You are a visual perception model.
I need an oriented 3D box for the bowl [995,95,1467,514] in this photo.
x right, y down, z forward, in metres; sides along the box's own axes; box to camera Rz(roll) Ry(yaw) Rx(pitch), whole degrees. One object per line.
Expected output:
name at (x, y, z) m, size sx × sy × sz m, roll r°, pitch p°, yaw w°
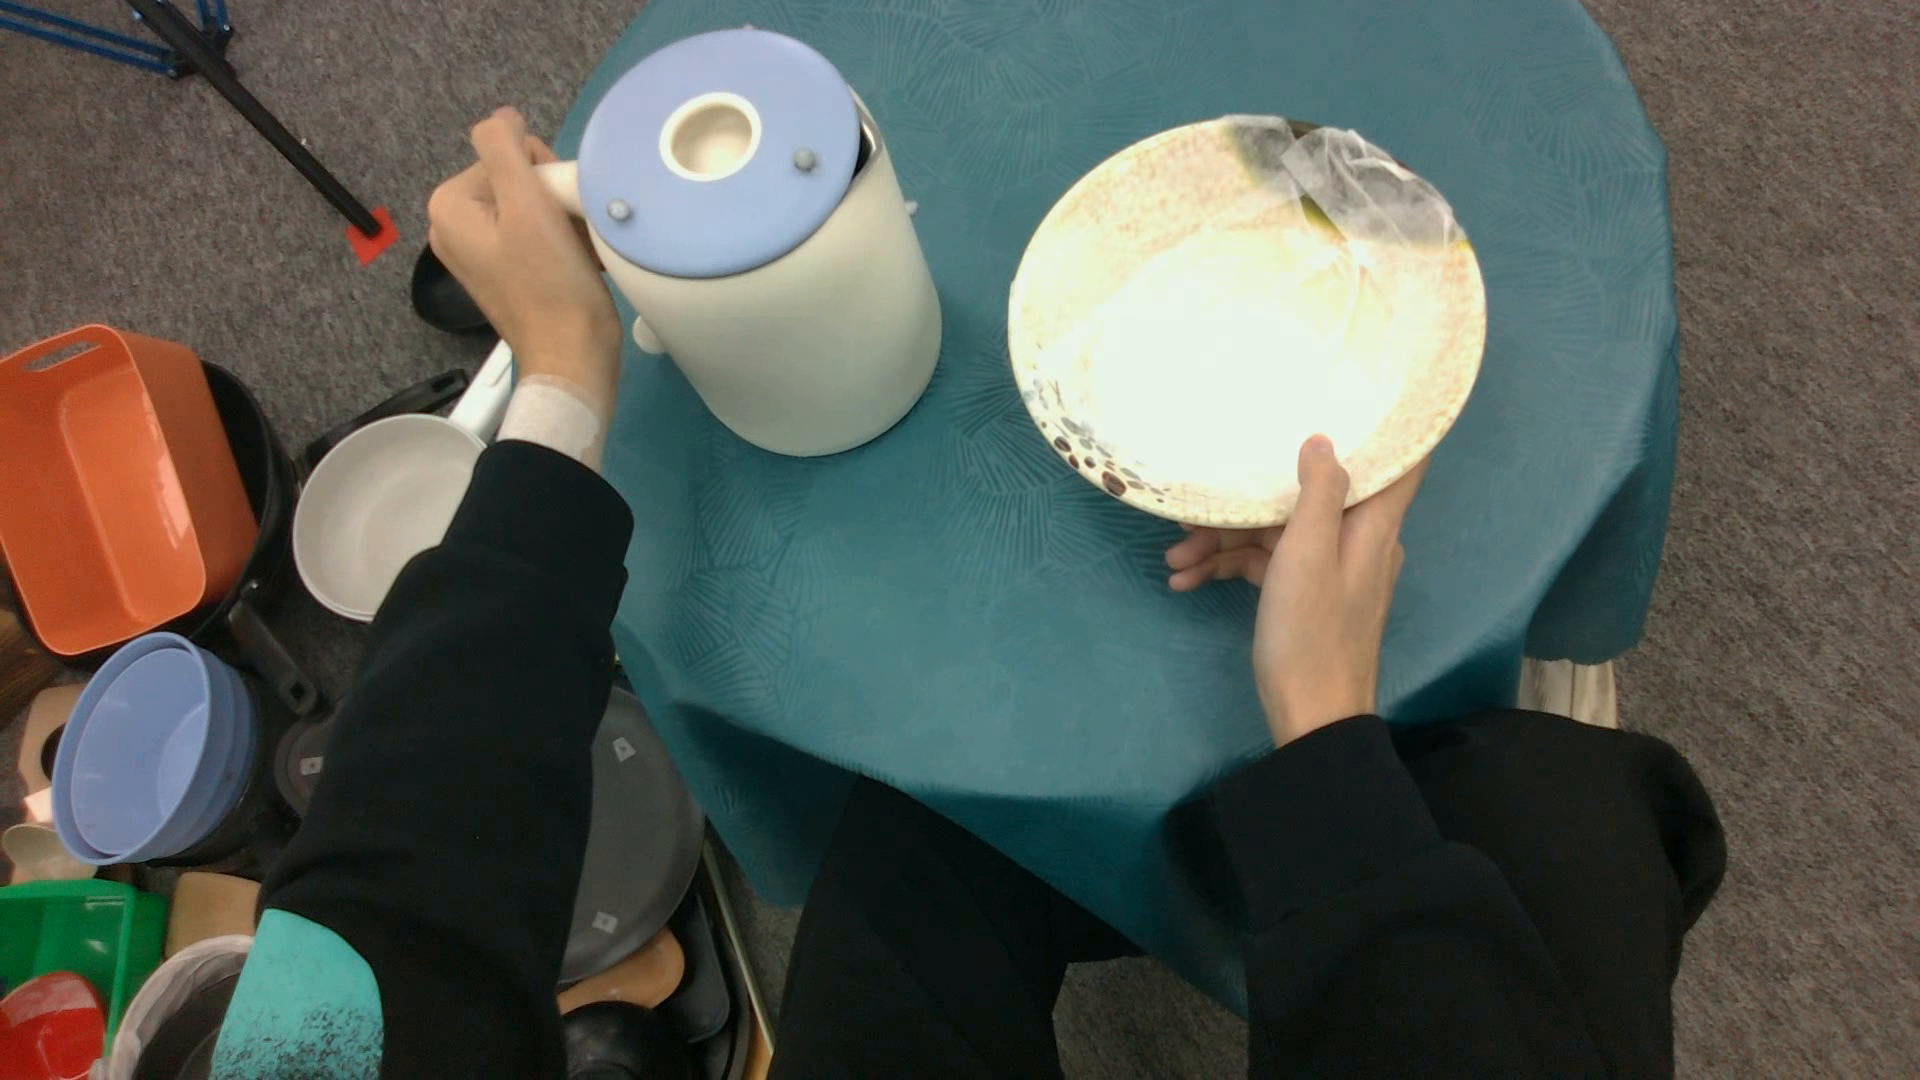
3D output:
bowl at (0.122, -0.097, 0.637) m, size 0.204 × 0.078 × 0.204 m, roll -3°, pitch 72°, yaw 9°

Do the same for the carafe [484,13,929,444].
carafe at (-0.116, -0.135, 0.637) m, size 0.191 × 0.182 × 0.132 m, roll -2°, pitch 68°, yaw 11°
